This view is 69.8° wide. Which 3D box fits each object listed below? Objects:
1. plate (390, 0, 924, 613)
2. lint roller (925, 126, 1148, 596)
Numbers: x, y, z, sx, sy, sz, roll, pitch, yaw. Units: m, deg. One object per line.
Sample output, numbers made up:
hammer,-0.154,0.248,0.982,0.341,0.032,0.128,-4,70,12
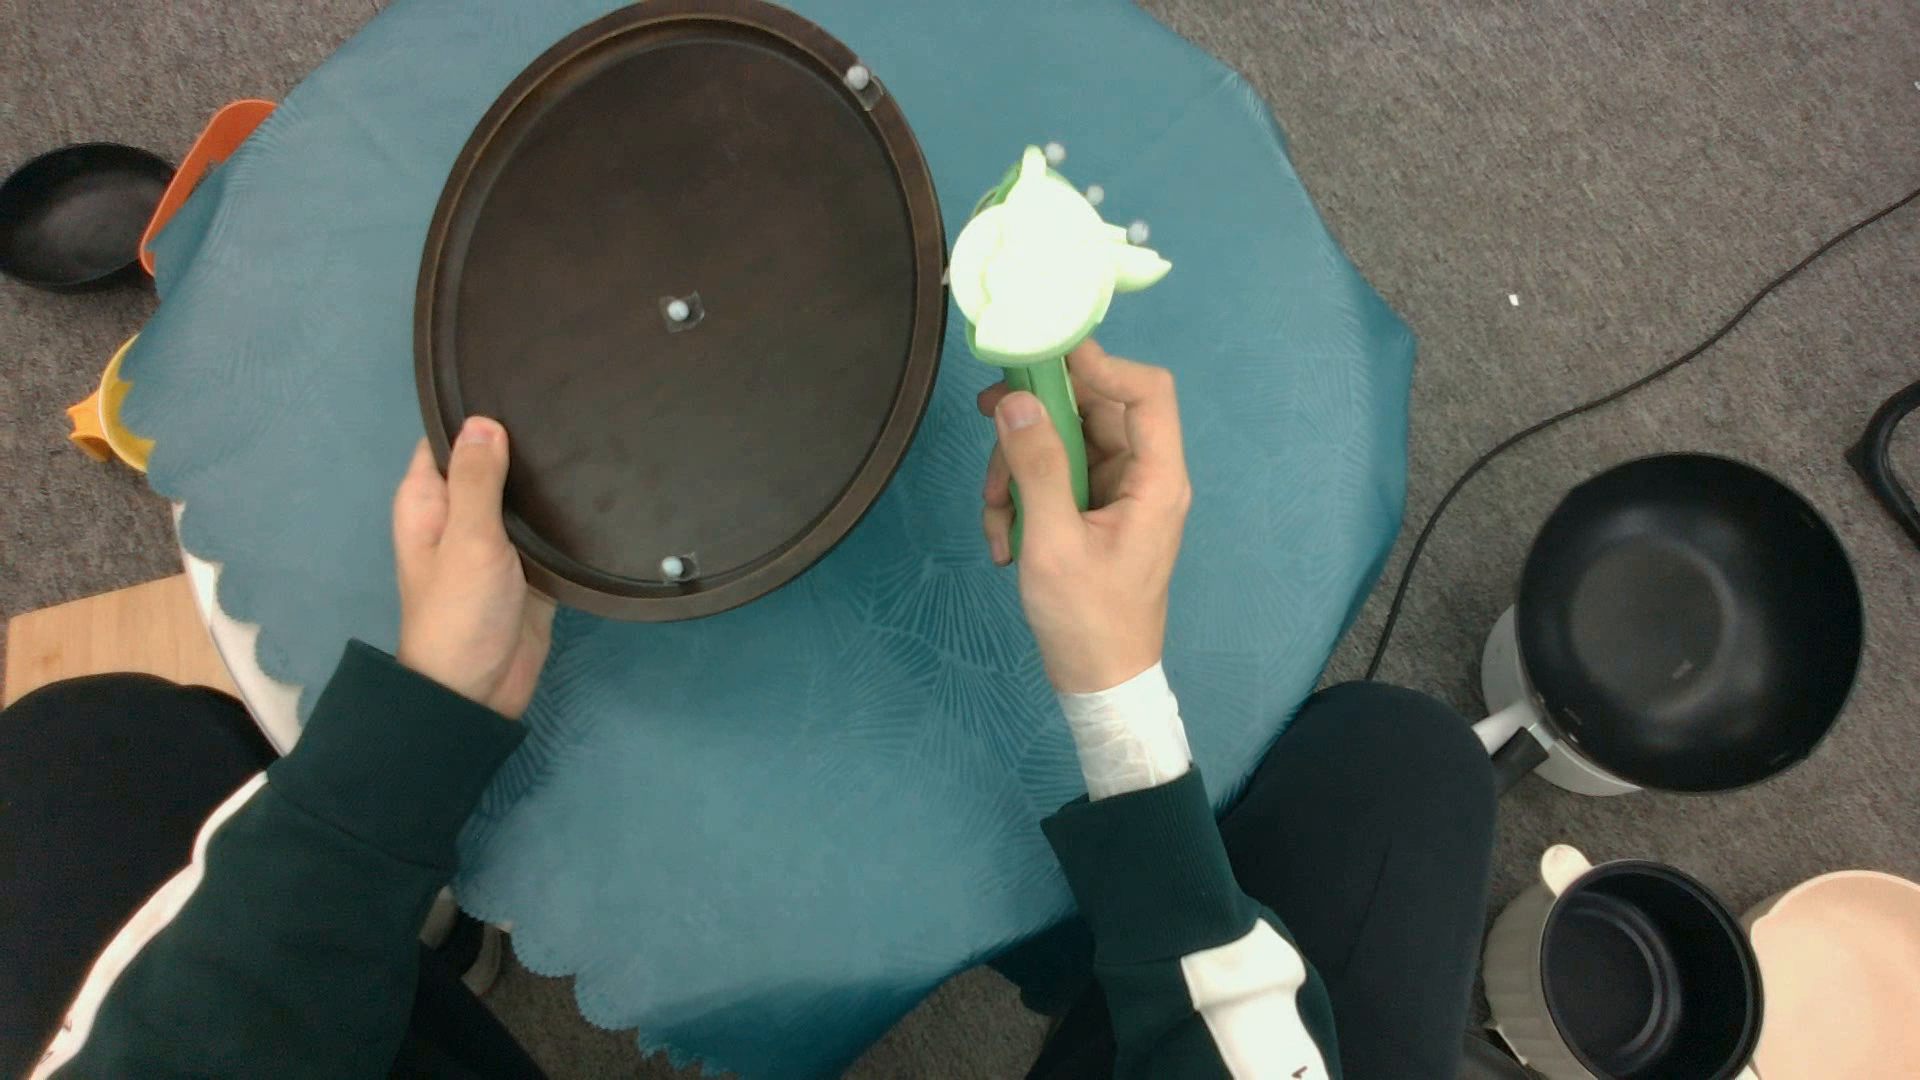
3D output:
plate,-0.129,-0.097,0.559,0.254,0.029,0.255,-1,87,21
lint roller,0.037,-0.070,0.542,0.082,0.199,0.183,-16,106,4
